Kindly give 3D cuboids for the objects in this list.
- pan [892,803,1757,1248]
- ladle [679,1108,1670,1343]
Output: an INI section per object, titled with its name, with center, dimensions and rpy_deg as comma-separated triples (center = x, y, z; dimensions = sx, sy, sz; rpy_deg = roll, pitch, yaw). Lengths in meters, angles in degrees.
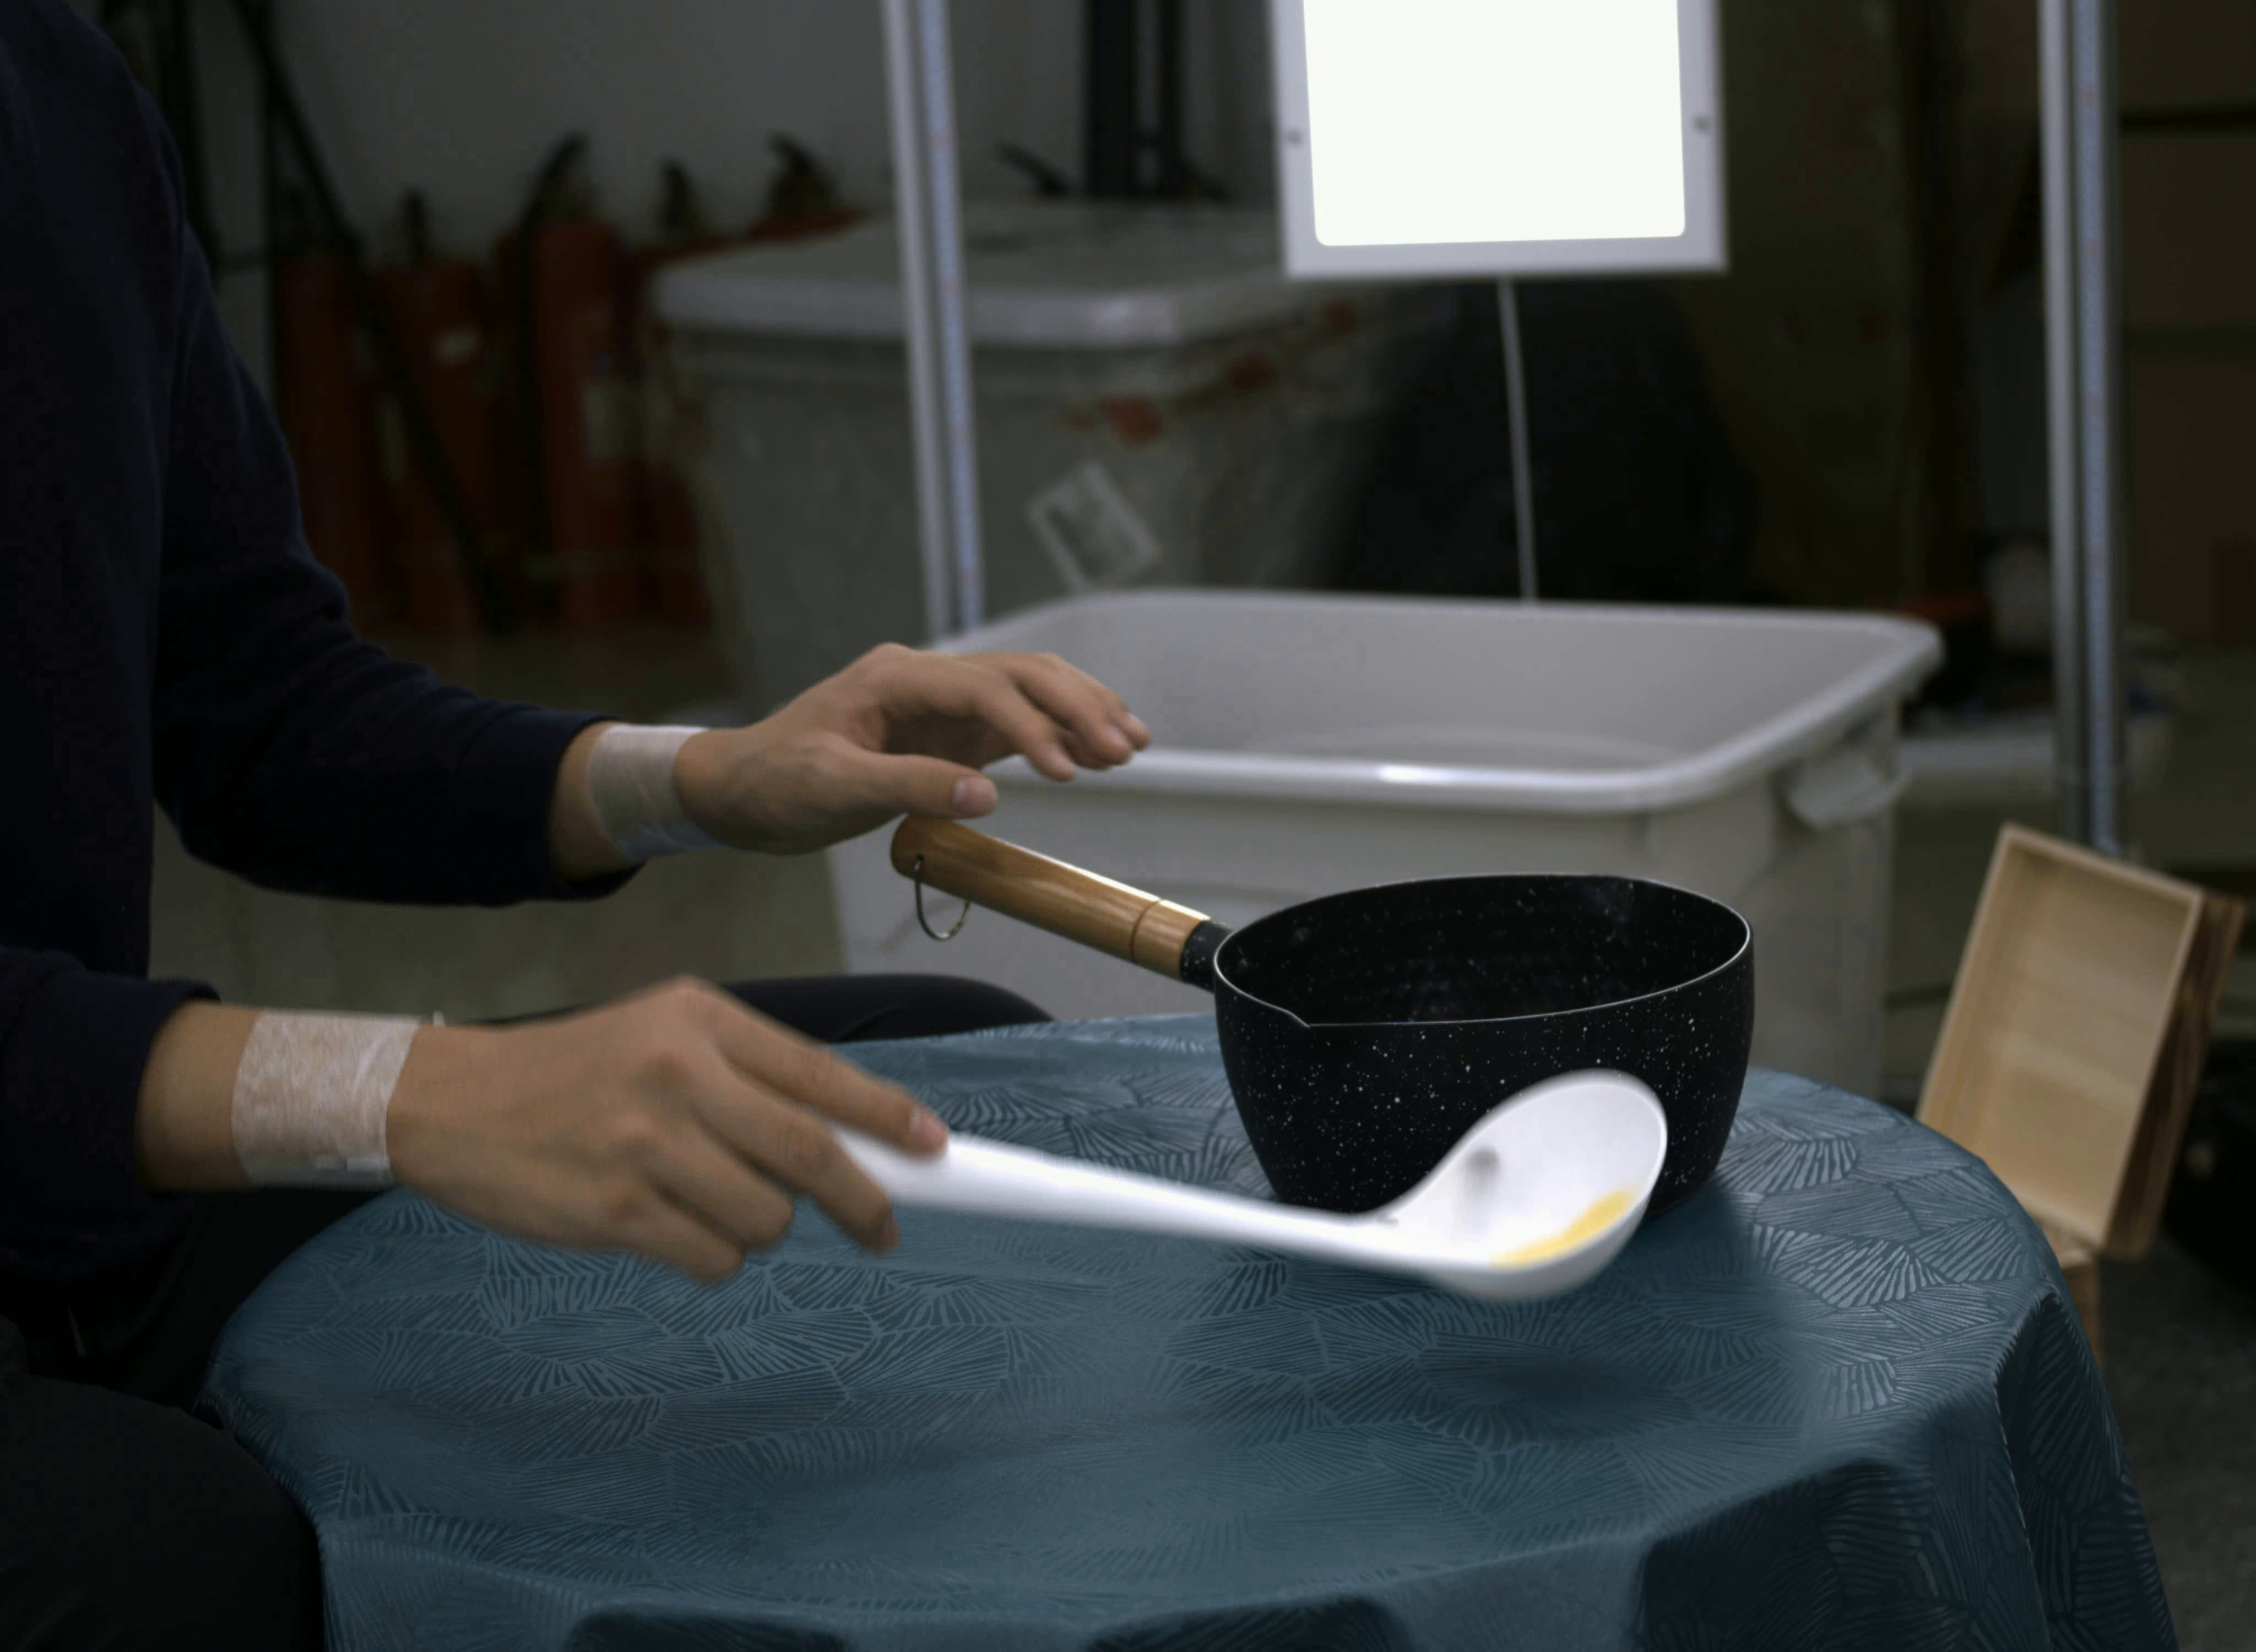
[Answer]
[pan]
center = 0.057, 0.062, 1.912
dimensions = 0.350, 0.108, 0.202
rpy_deg = 7, 19, 36
[ladle]
center = 0.014, 0.110, 1.654
dimensions = 0.291, 0.070, 0.090
rpy_deg = 7, 35, -4
